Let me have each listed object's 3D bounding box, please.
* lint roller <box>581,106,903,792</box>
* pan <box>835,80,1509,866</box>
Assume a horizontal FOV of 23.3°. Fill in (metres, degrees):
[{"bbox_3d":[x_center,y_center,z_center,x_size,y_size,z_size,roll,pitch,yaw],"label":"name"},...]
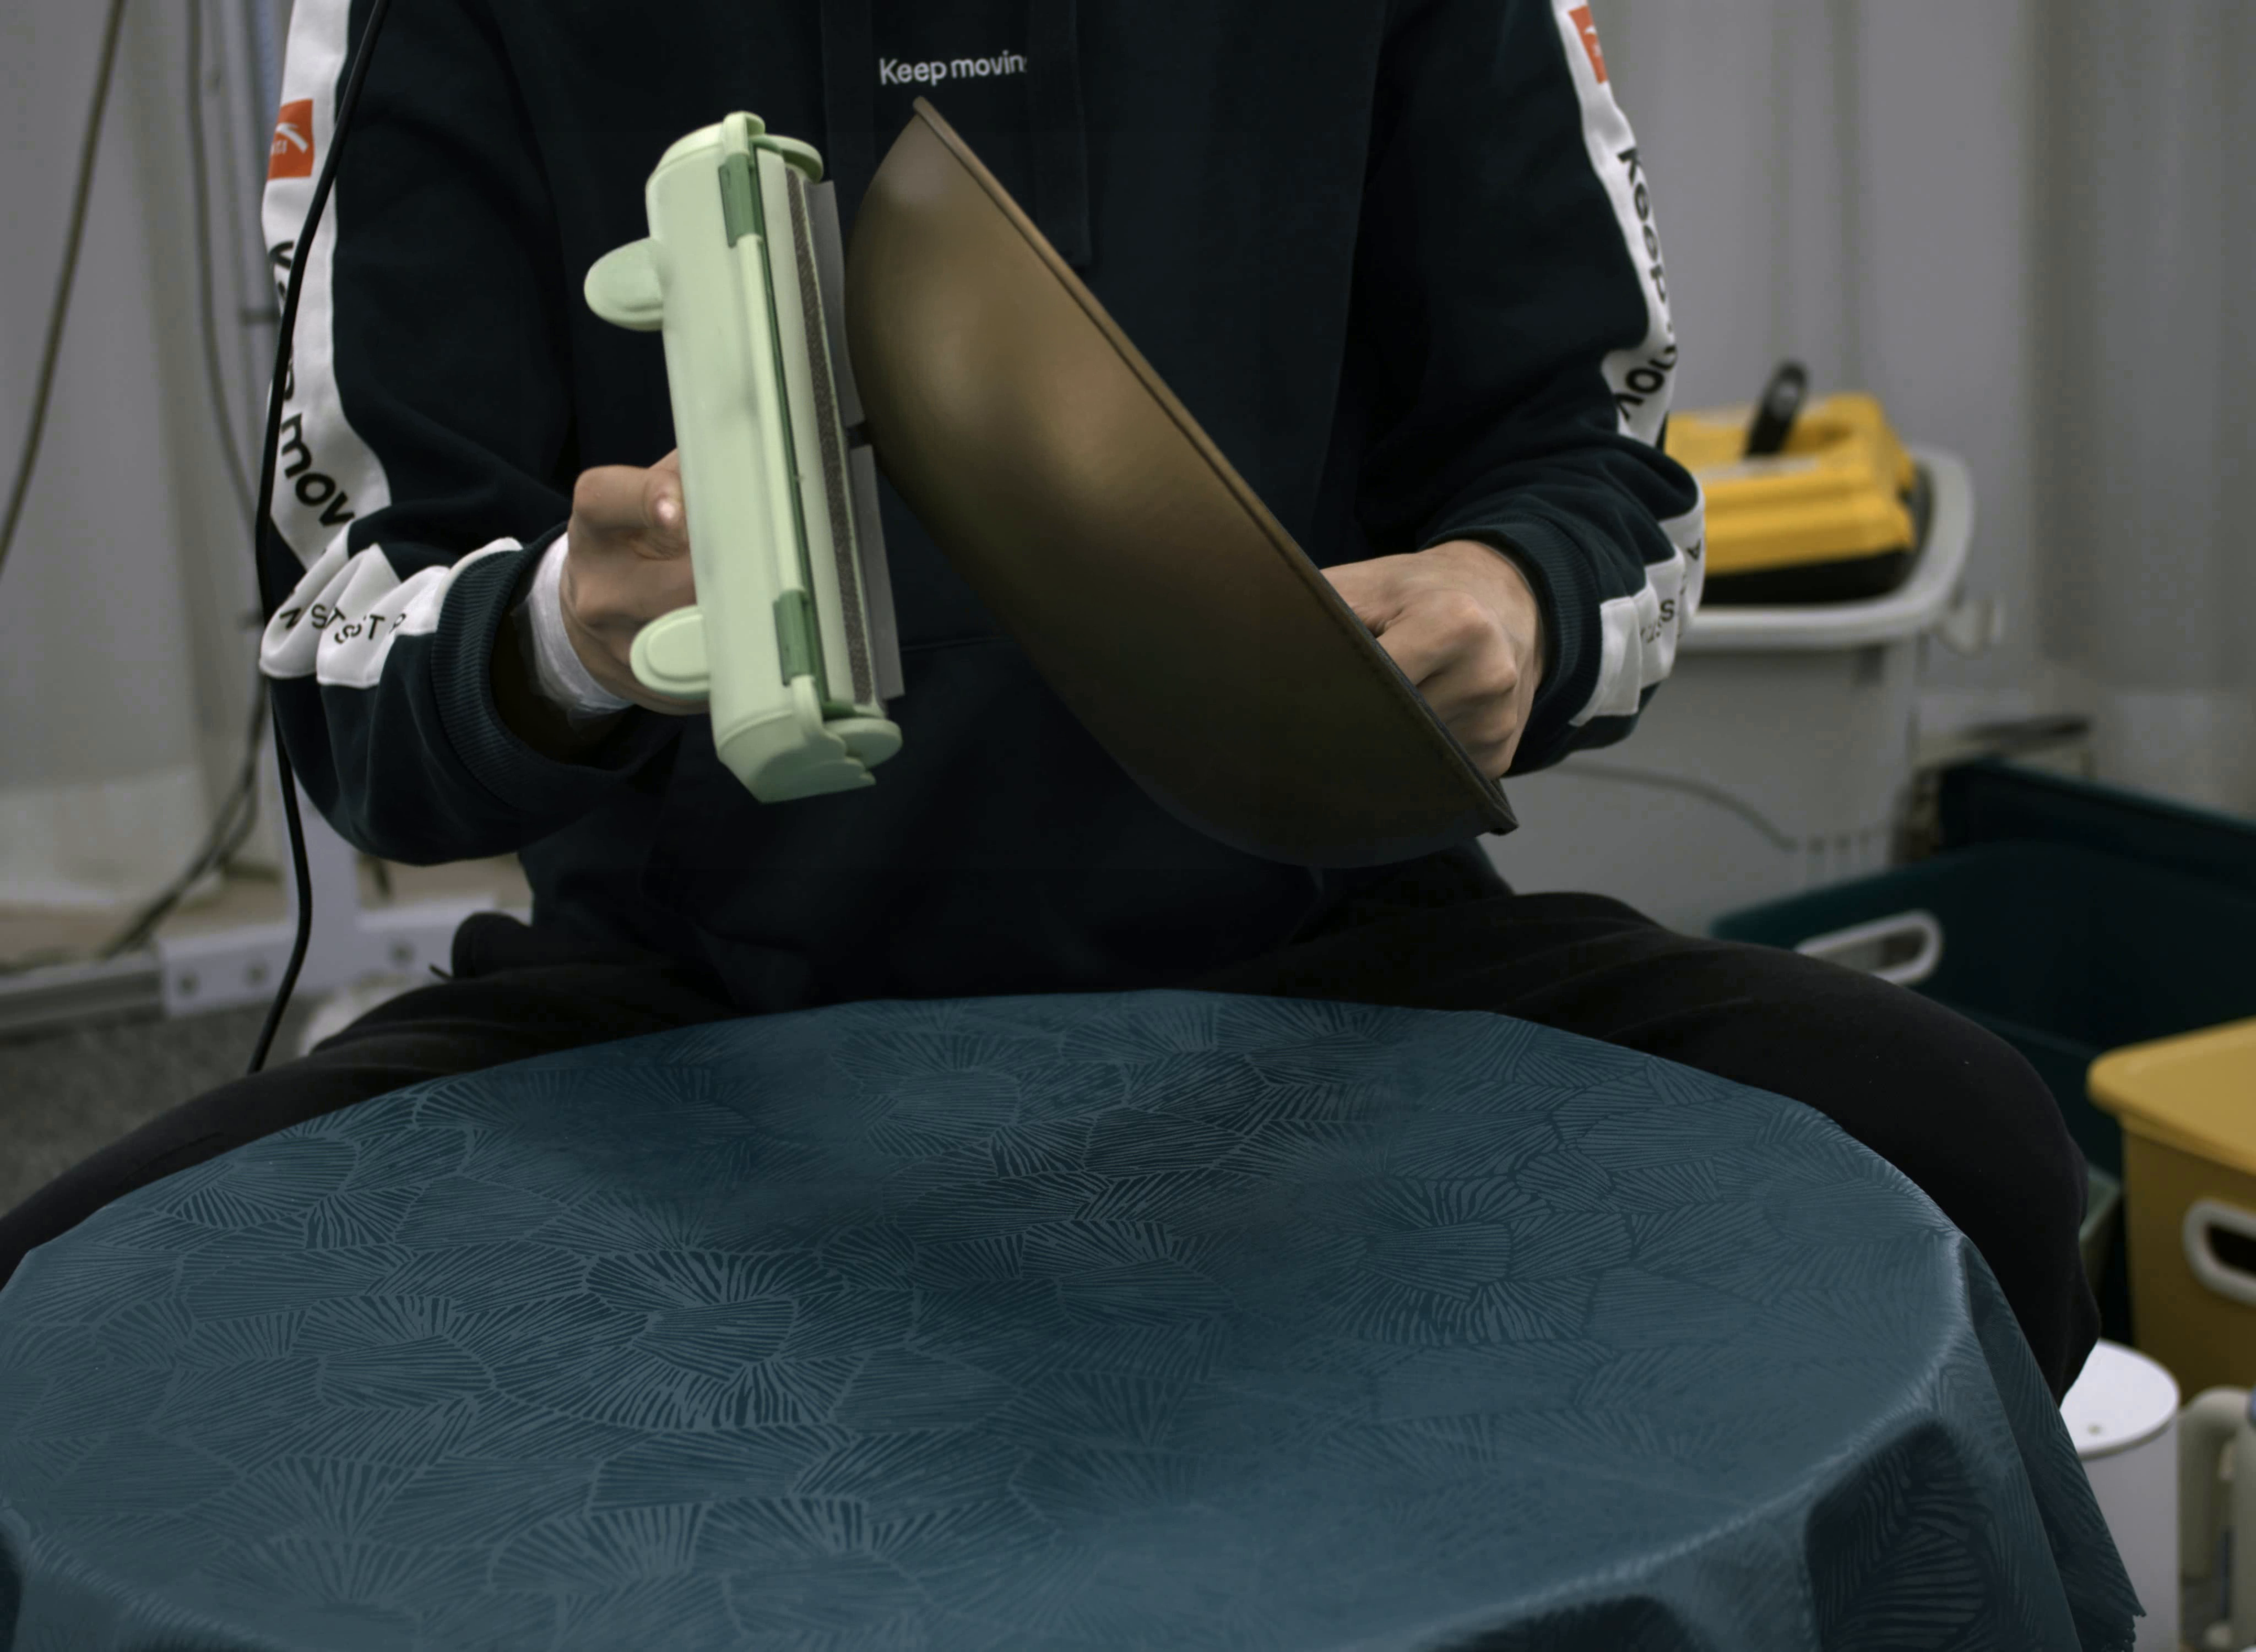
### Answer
[{"bbox_3d":[-0.129,-0.091,1.643,0.082,0.201,0.182,-1,-19,-21],"label":"lint roller"},{"bbox_3d":[0.025,-0.059,1.718,0.087,0.291,0.458,-38,-27,3],"label":"pan"}]
